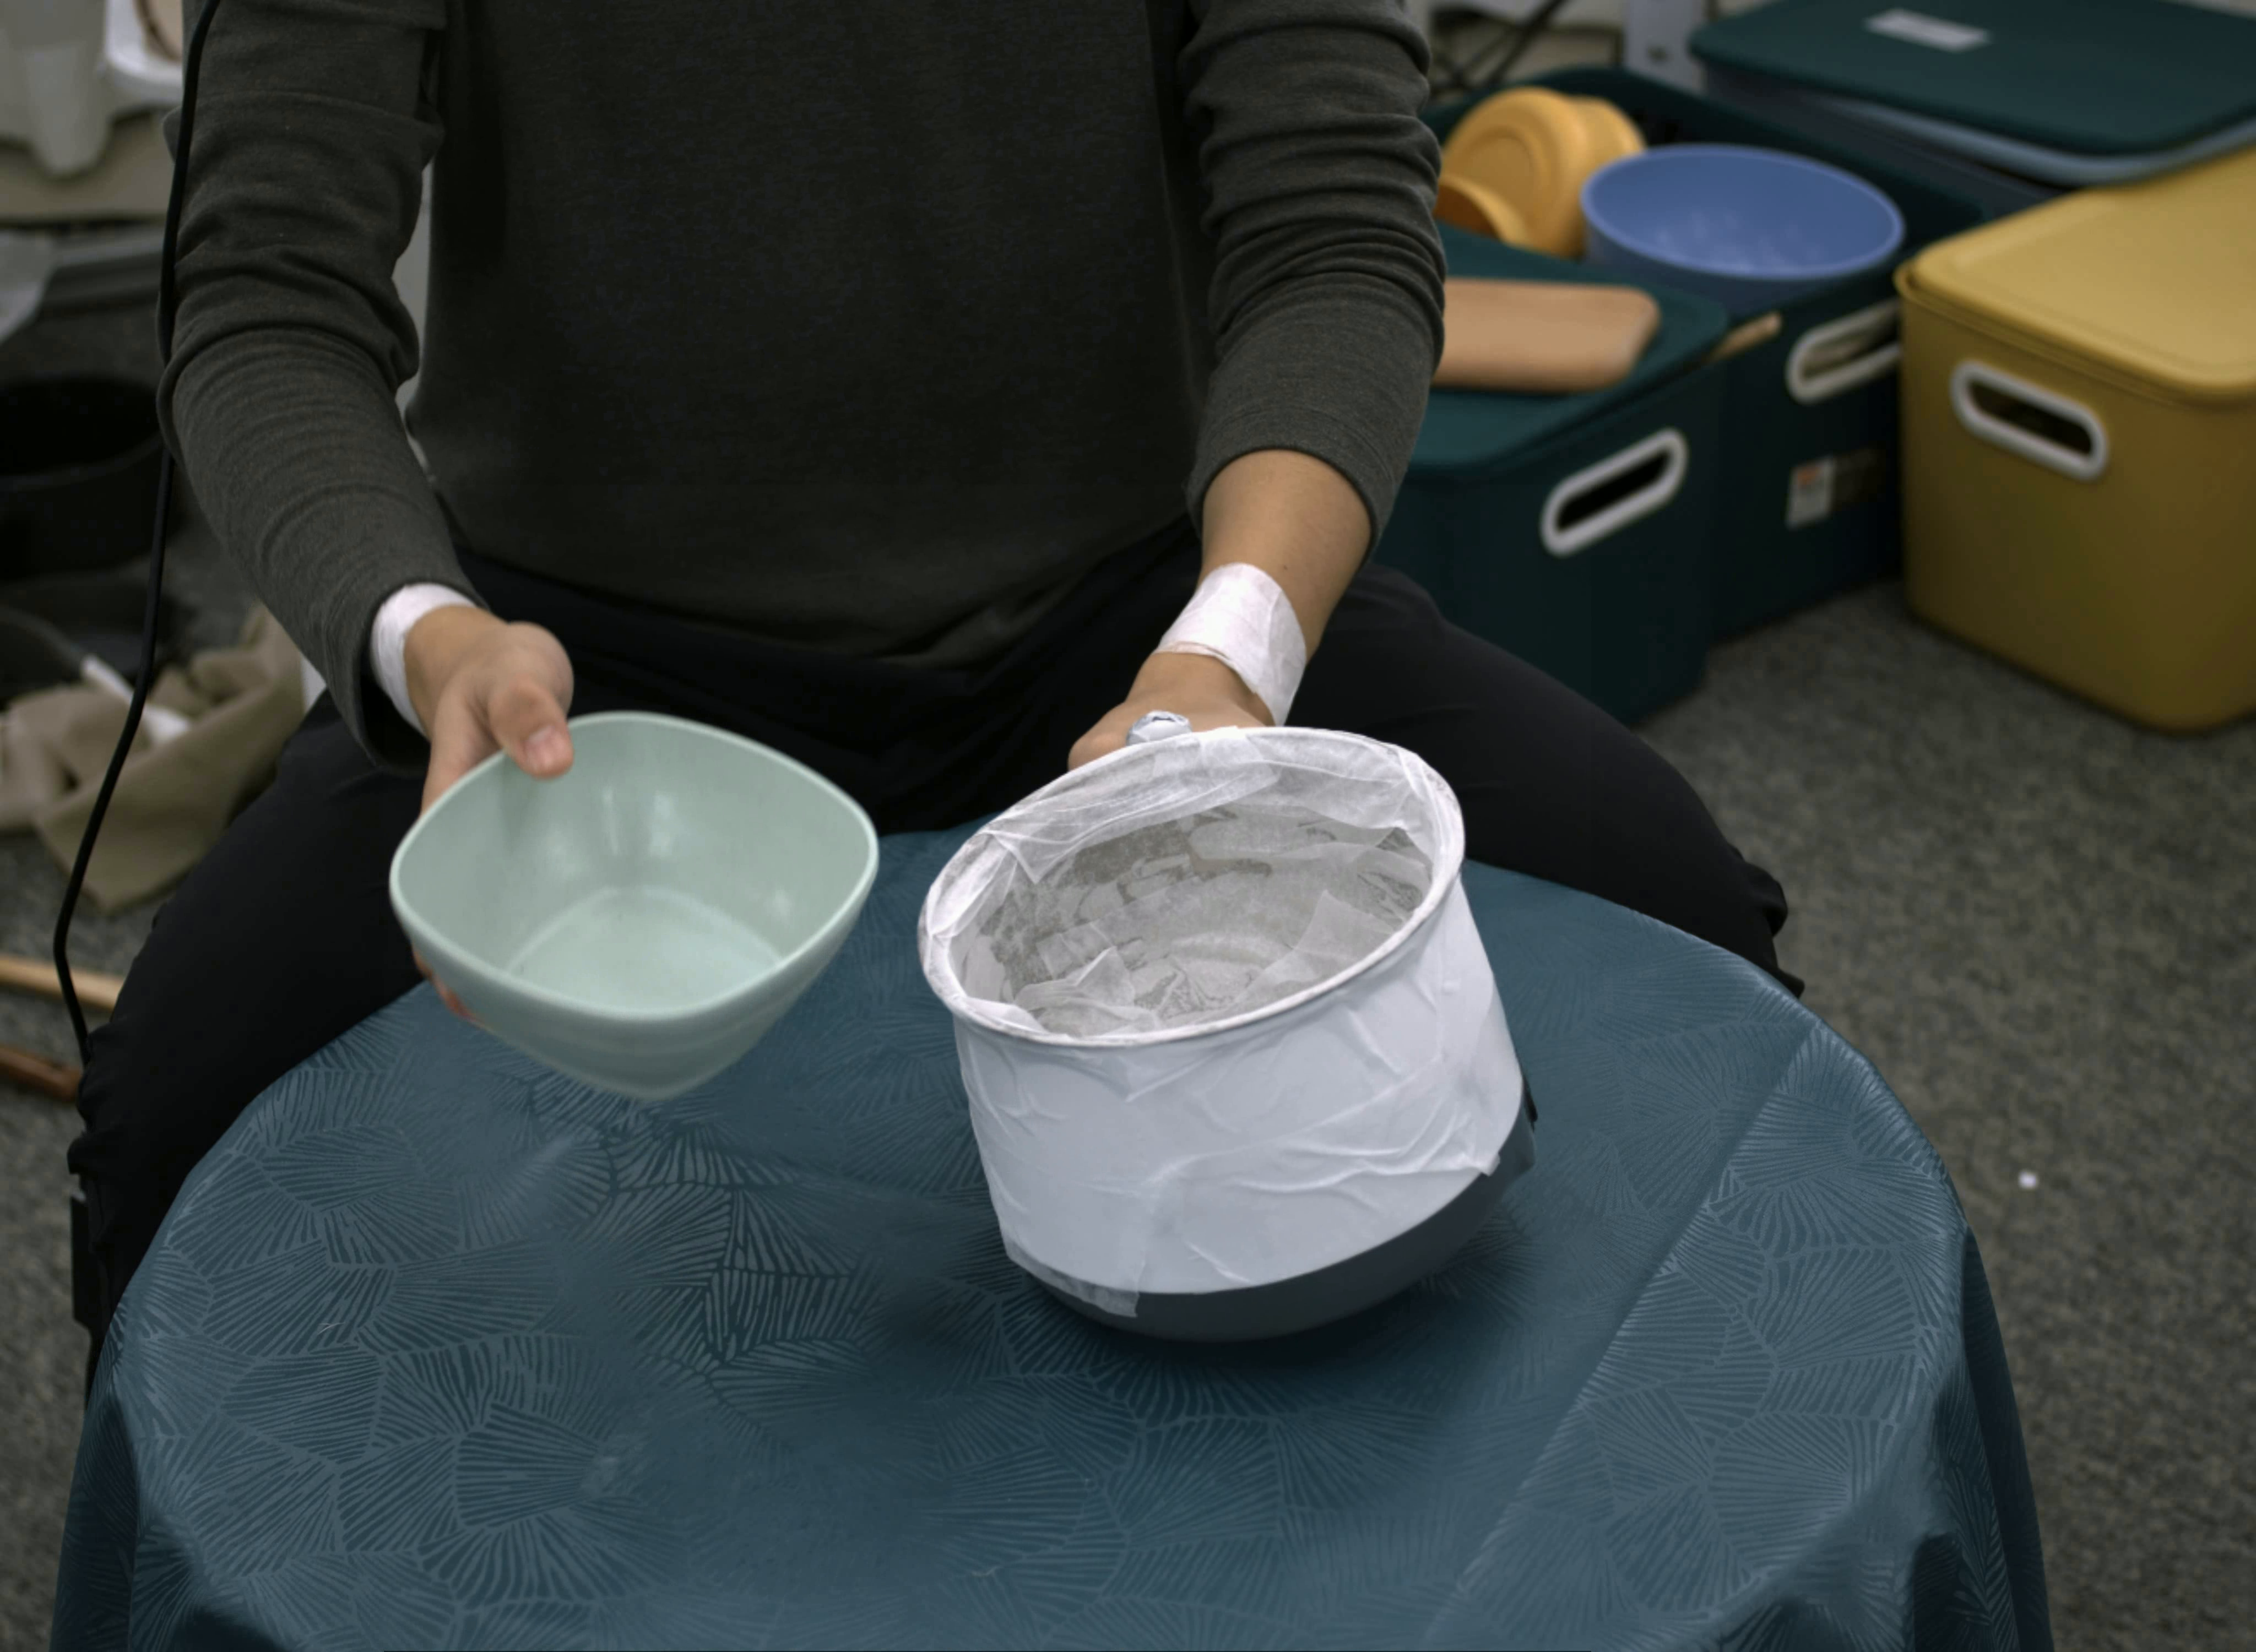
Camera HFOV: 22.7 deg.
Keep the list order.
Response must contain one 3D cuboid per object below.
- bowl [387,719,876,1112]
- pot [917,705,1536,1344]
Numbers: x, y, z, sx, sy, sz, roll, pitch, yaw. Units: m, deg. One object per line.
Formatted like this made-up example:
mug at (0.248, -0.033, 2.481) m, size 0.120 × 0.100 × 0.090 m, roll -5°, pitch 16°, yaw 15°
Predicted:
bowl at (-0.154, 0.036, 1.751) m, size 0.151 × 0.058 × 0.154 m, roll 2°, pitch 39°, yaw -1°
pot at (0.030, 0.055, 1.815) m, size 0.178 × 0.135 × 0.237 m, roll -14°, pitch 30°, yaw -1°
